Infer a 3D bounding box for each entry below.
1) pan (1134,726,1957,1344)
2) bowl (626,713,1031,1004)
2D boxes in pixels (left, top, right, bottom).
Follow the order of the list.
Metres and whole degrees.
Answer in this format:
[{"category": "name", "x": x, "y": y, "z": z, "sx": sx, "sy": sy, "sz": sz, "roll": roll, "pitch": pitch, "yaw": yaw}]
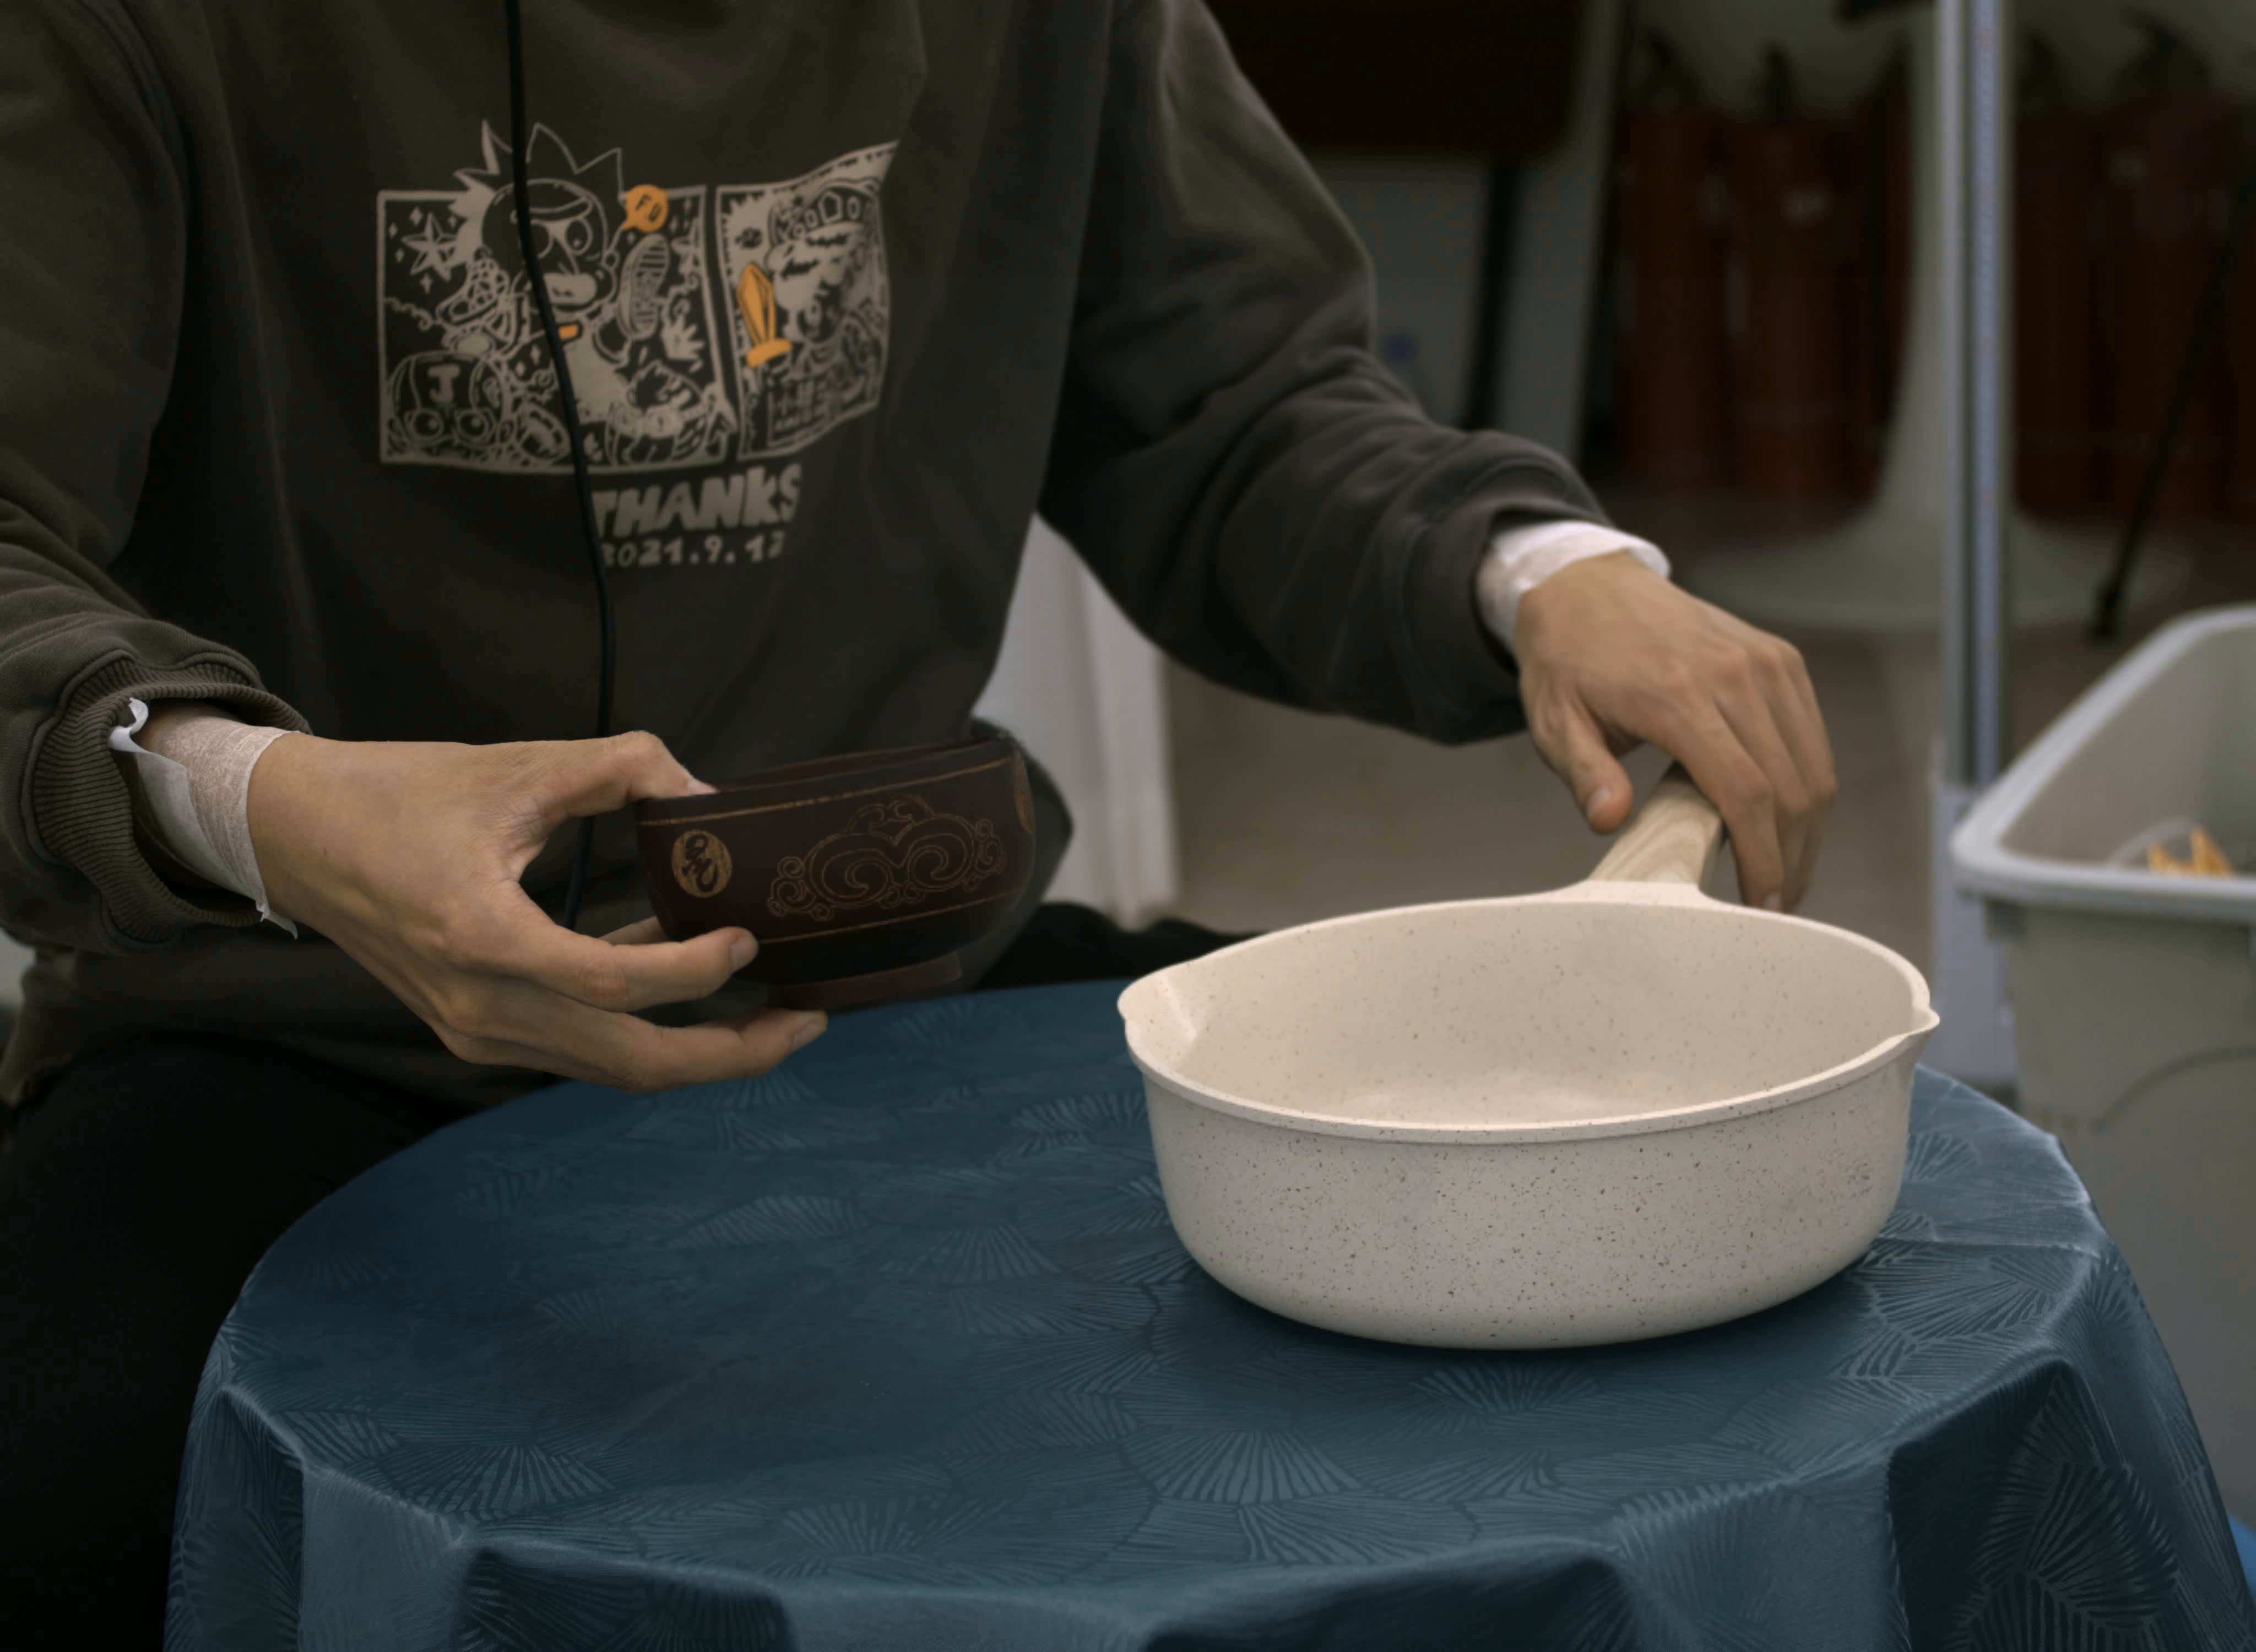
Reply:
[{"category": "pan", "x": 0.160, "y": 0.065, "z": 1.755, "sx": 0.263, "sy": 0.103, "sz": 0.430, "roll": -1, "pitch": 13, "yaw": 21}, {"category": "bowl", "x": -0.083, "y": 0.012, "z": 1.572, "sx": 0.116, "sy": 0.070, "sz": 0.118, "roll": -12, "pitch": 3, "yaw": 0}]
